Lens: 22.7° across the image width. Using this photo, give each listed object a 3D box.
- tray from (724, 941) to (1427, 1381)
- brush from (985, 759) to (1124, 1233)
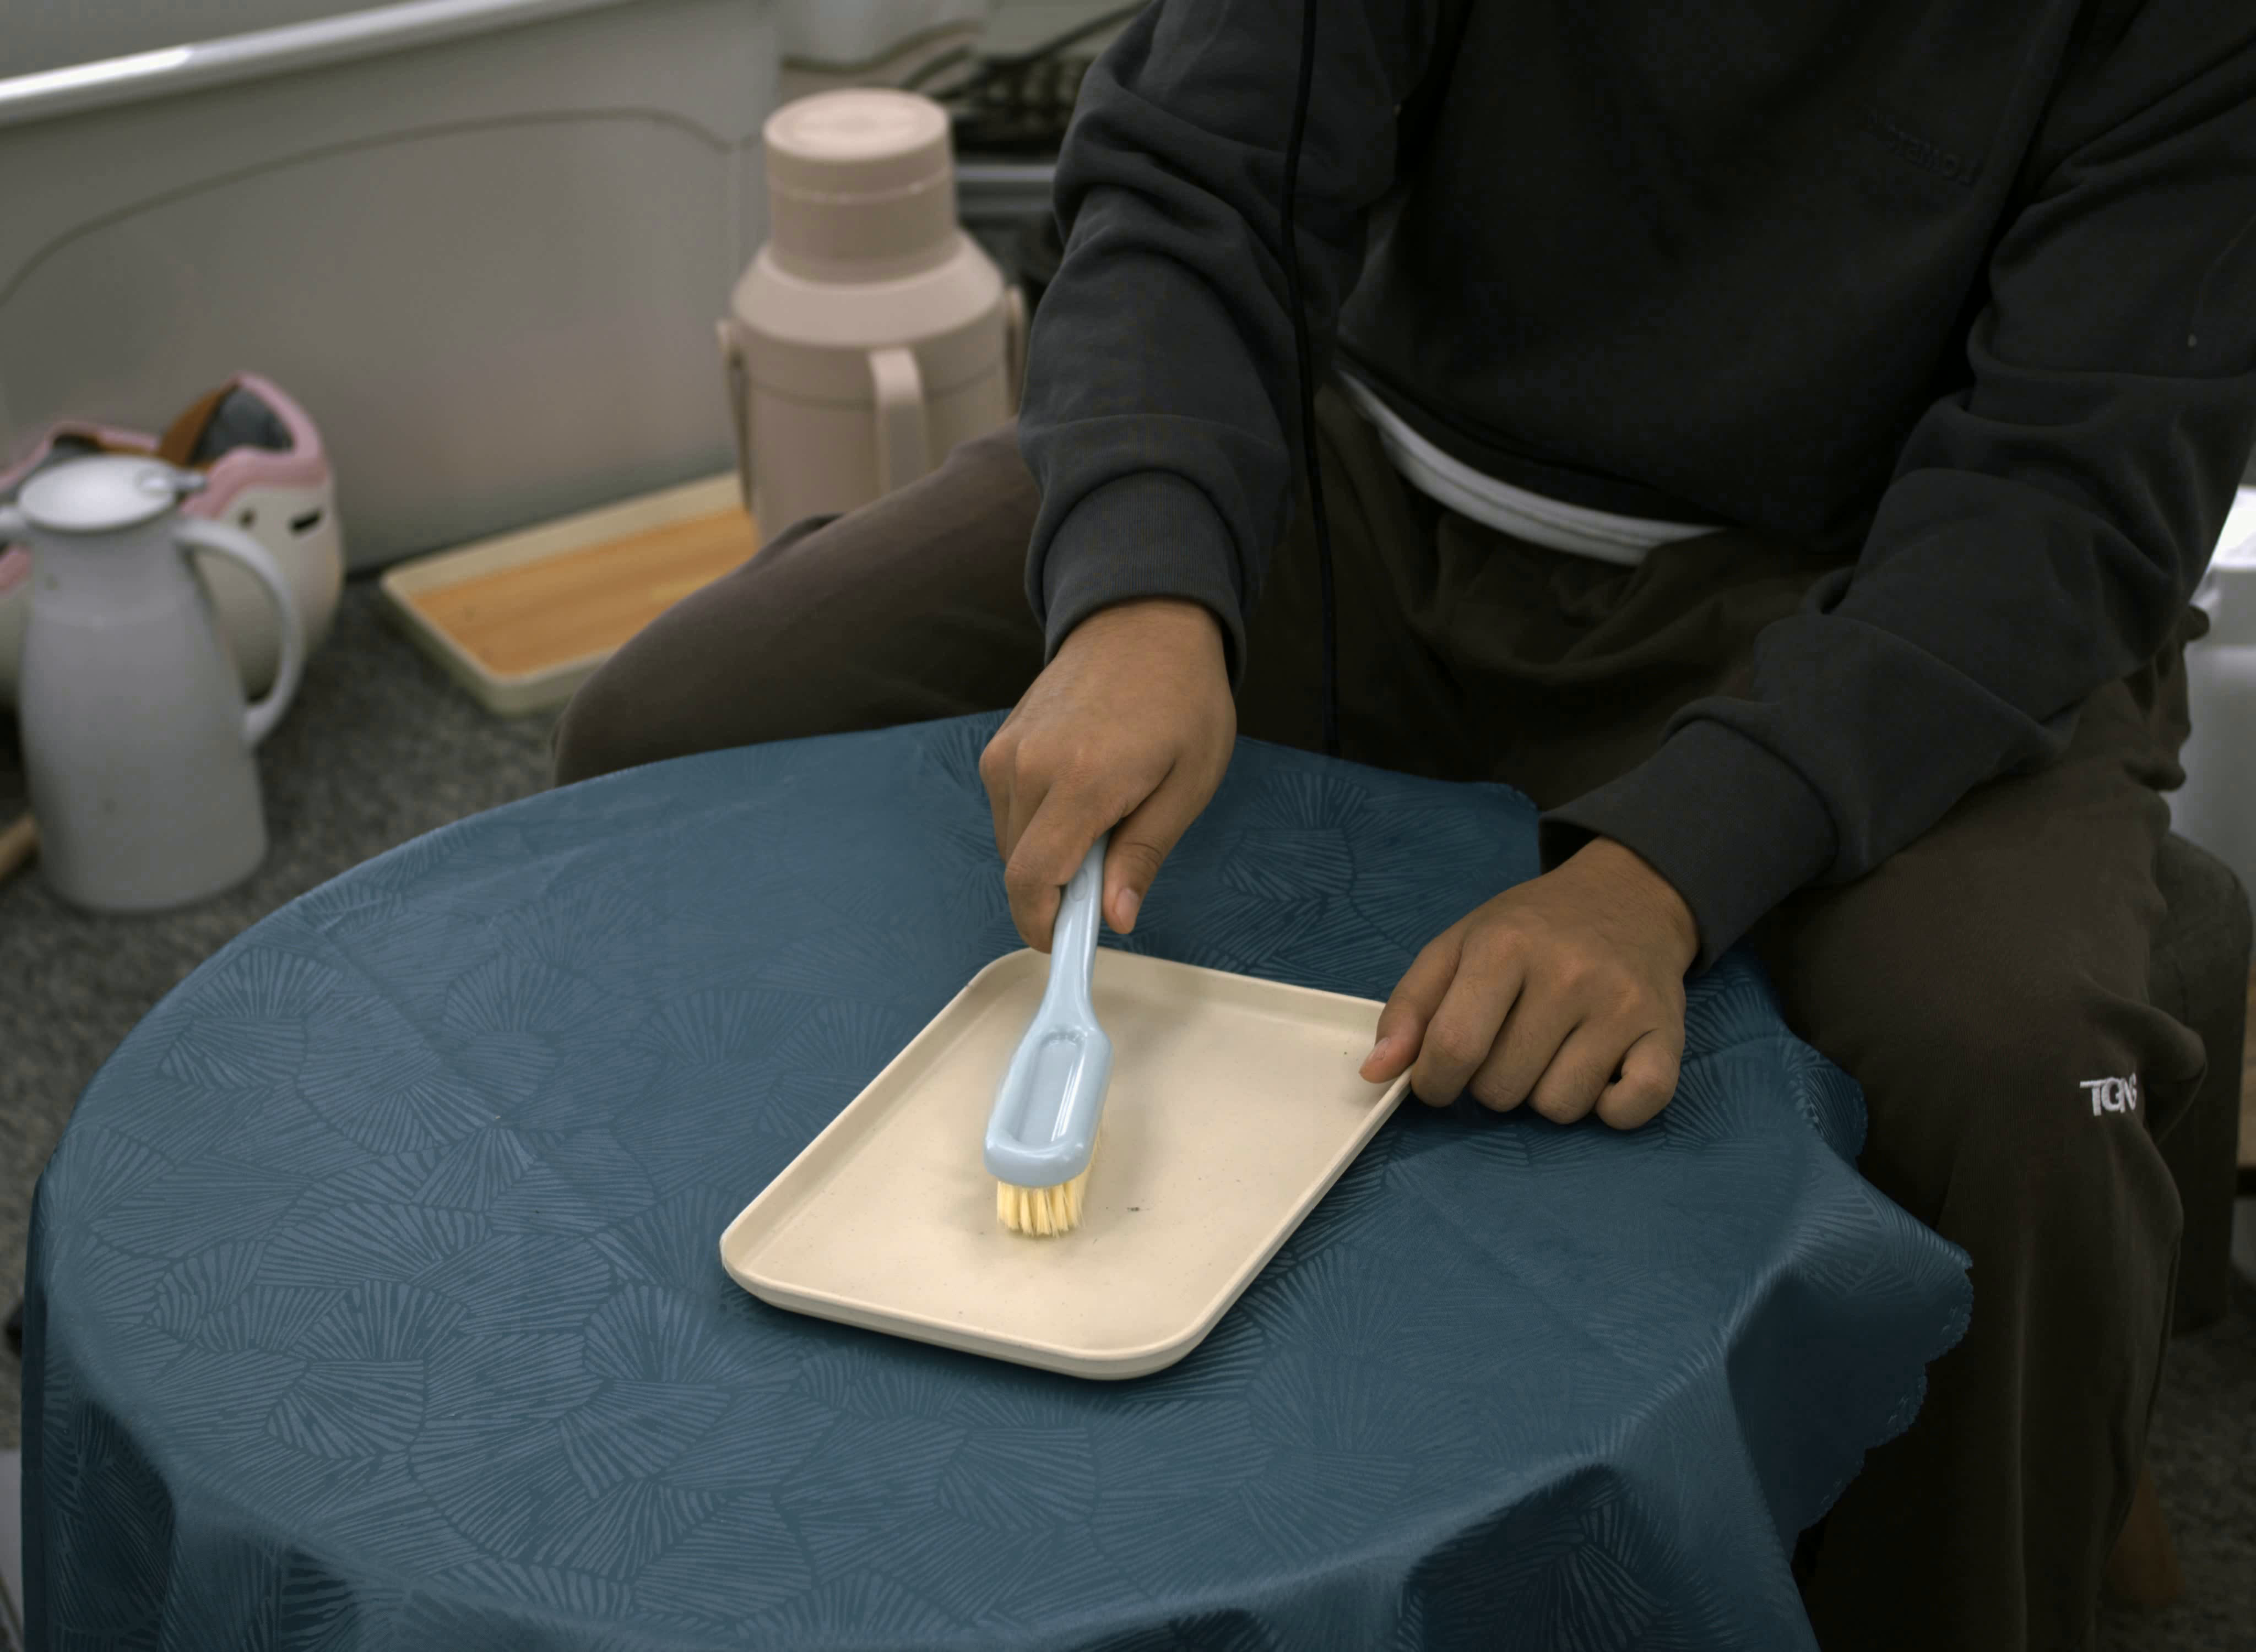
[{"bbox_3d":[-0.014,0.110,1.869,0.170,0.017,0.244,11,30,23],"label":"tray"},{"bbox_3d":[-0.021,0.053,1.917,0.037,0.049,0.233,0,40,5],"label":"brush"}]
